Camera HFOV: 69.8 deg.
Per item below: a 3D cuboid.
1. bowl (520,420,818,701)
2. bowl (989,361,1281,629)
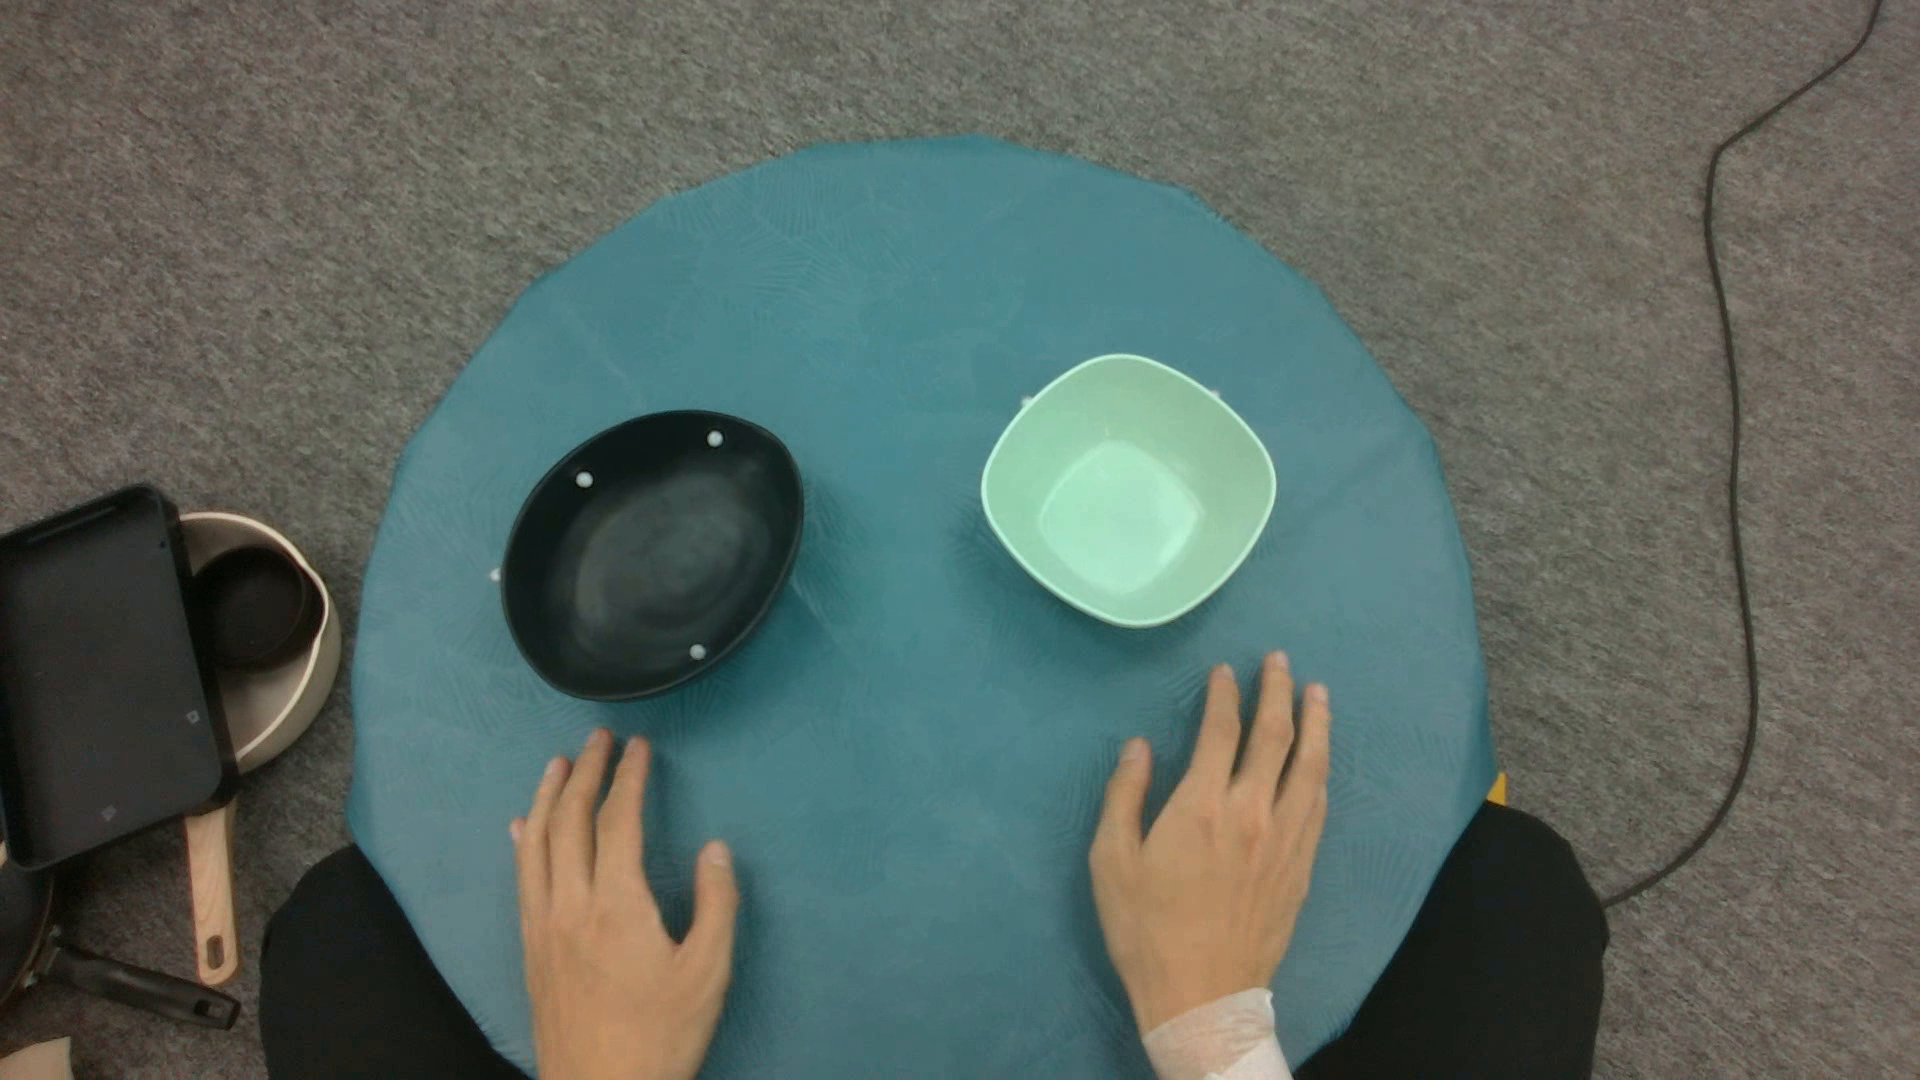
[{"bbox_3d":[-0.148,0.014,0.731,0.137,0.066,0.171,34,73,13],"label":"bowl"},{"bbox_3d":[0.092,-0.017,0.738,0.151,0.058,0.152,-1,68,3],"label":"bowl"}]
